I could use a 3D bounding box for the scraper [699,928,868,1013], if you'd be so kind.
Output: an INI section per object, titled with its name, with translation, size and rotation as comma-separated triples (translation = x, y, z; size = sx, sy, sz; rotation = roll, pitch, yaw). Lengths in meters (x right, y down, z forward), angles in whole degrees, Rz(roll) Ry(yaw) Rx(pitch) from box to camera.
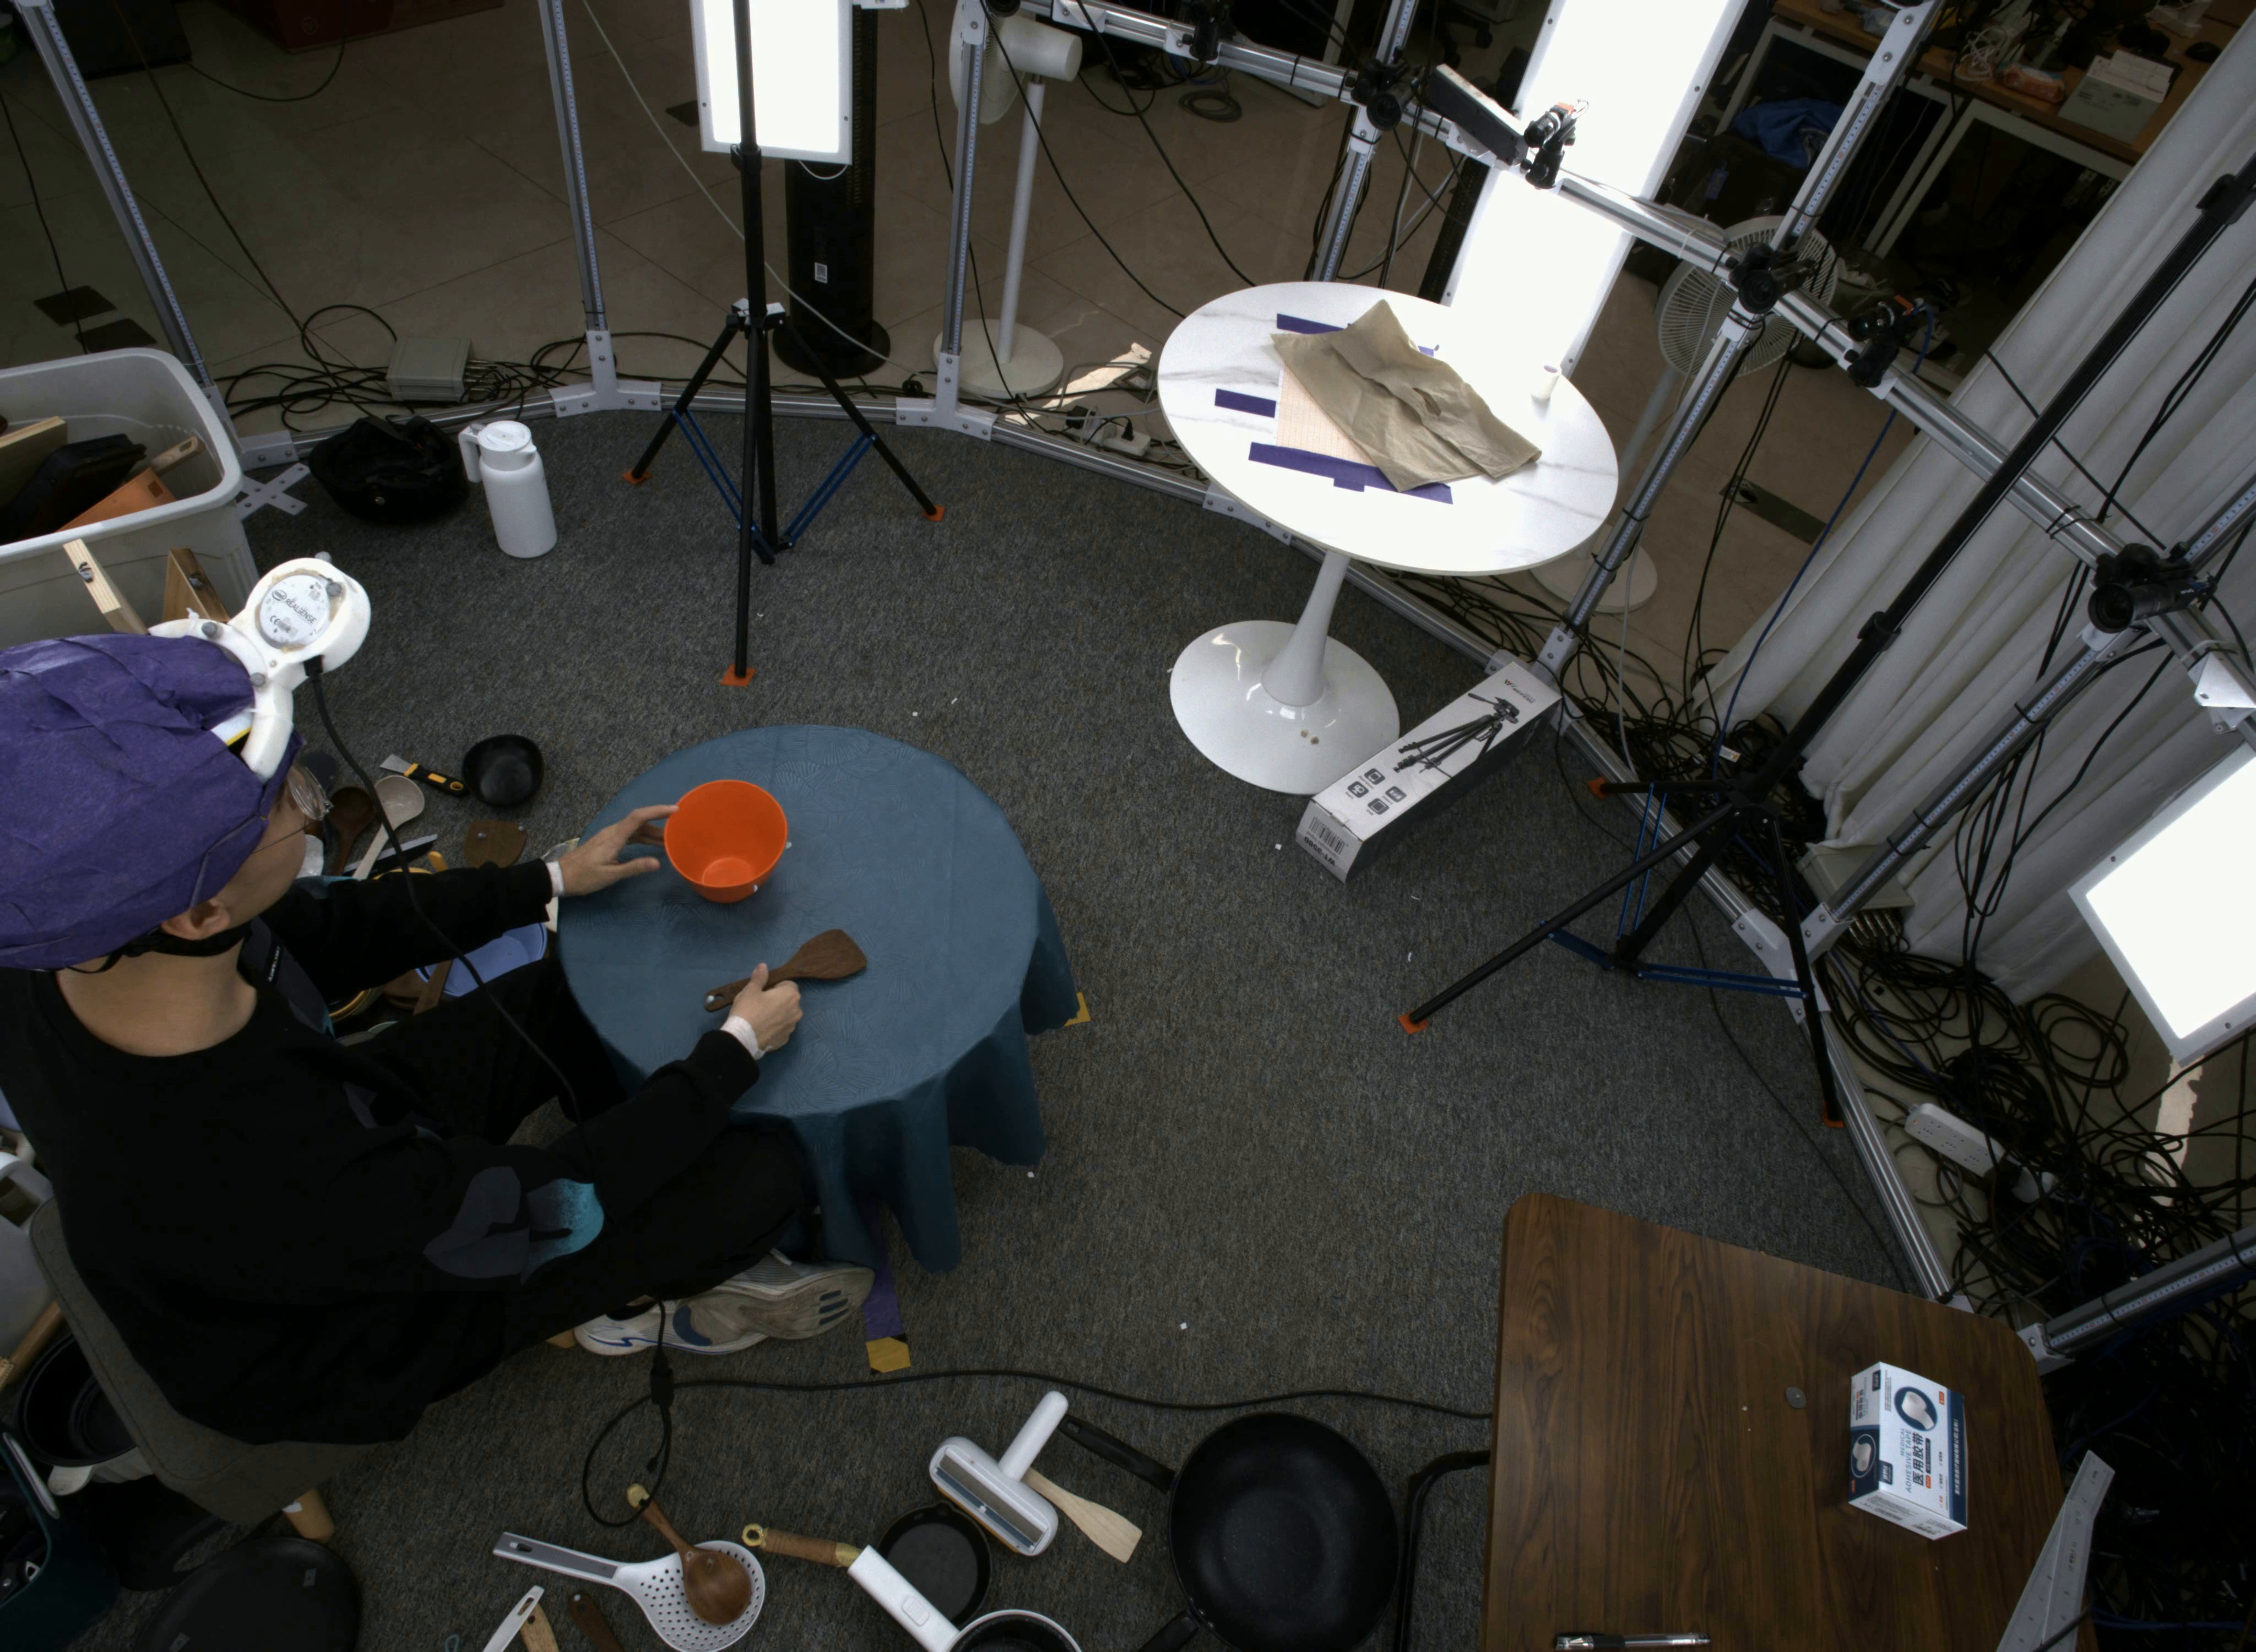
[scraper]
translation = -0.419, 0.178, 1.569
size = 0.213, 0.011, 0.074
rotation = -20, 57, -40

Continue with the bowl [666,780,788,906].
[bowl]
translation = -0.500, 0.032, 1.621
size = 0.148, 0.106, 0.145
rotation = 7, 54, -8
